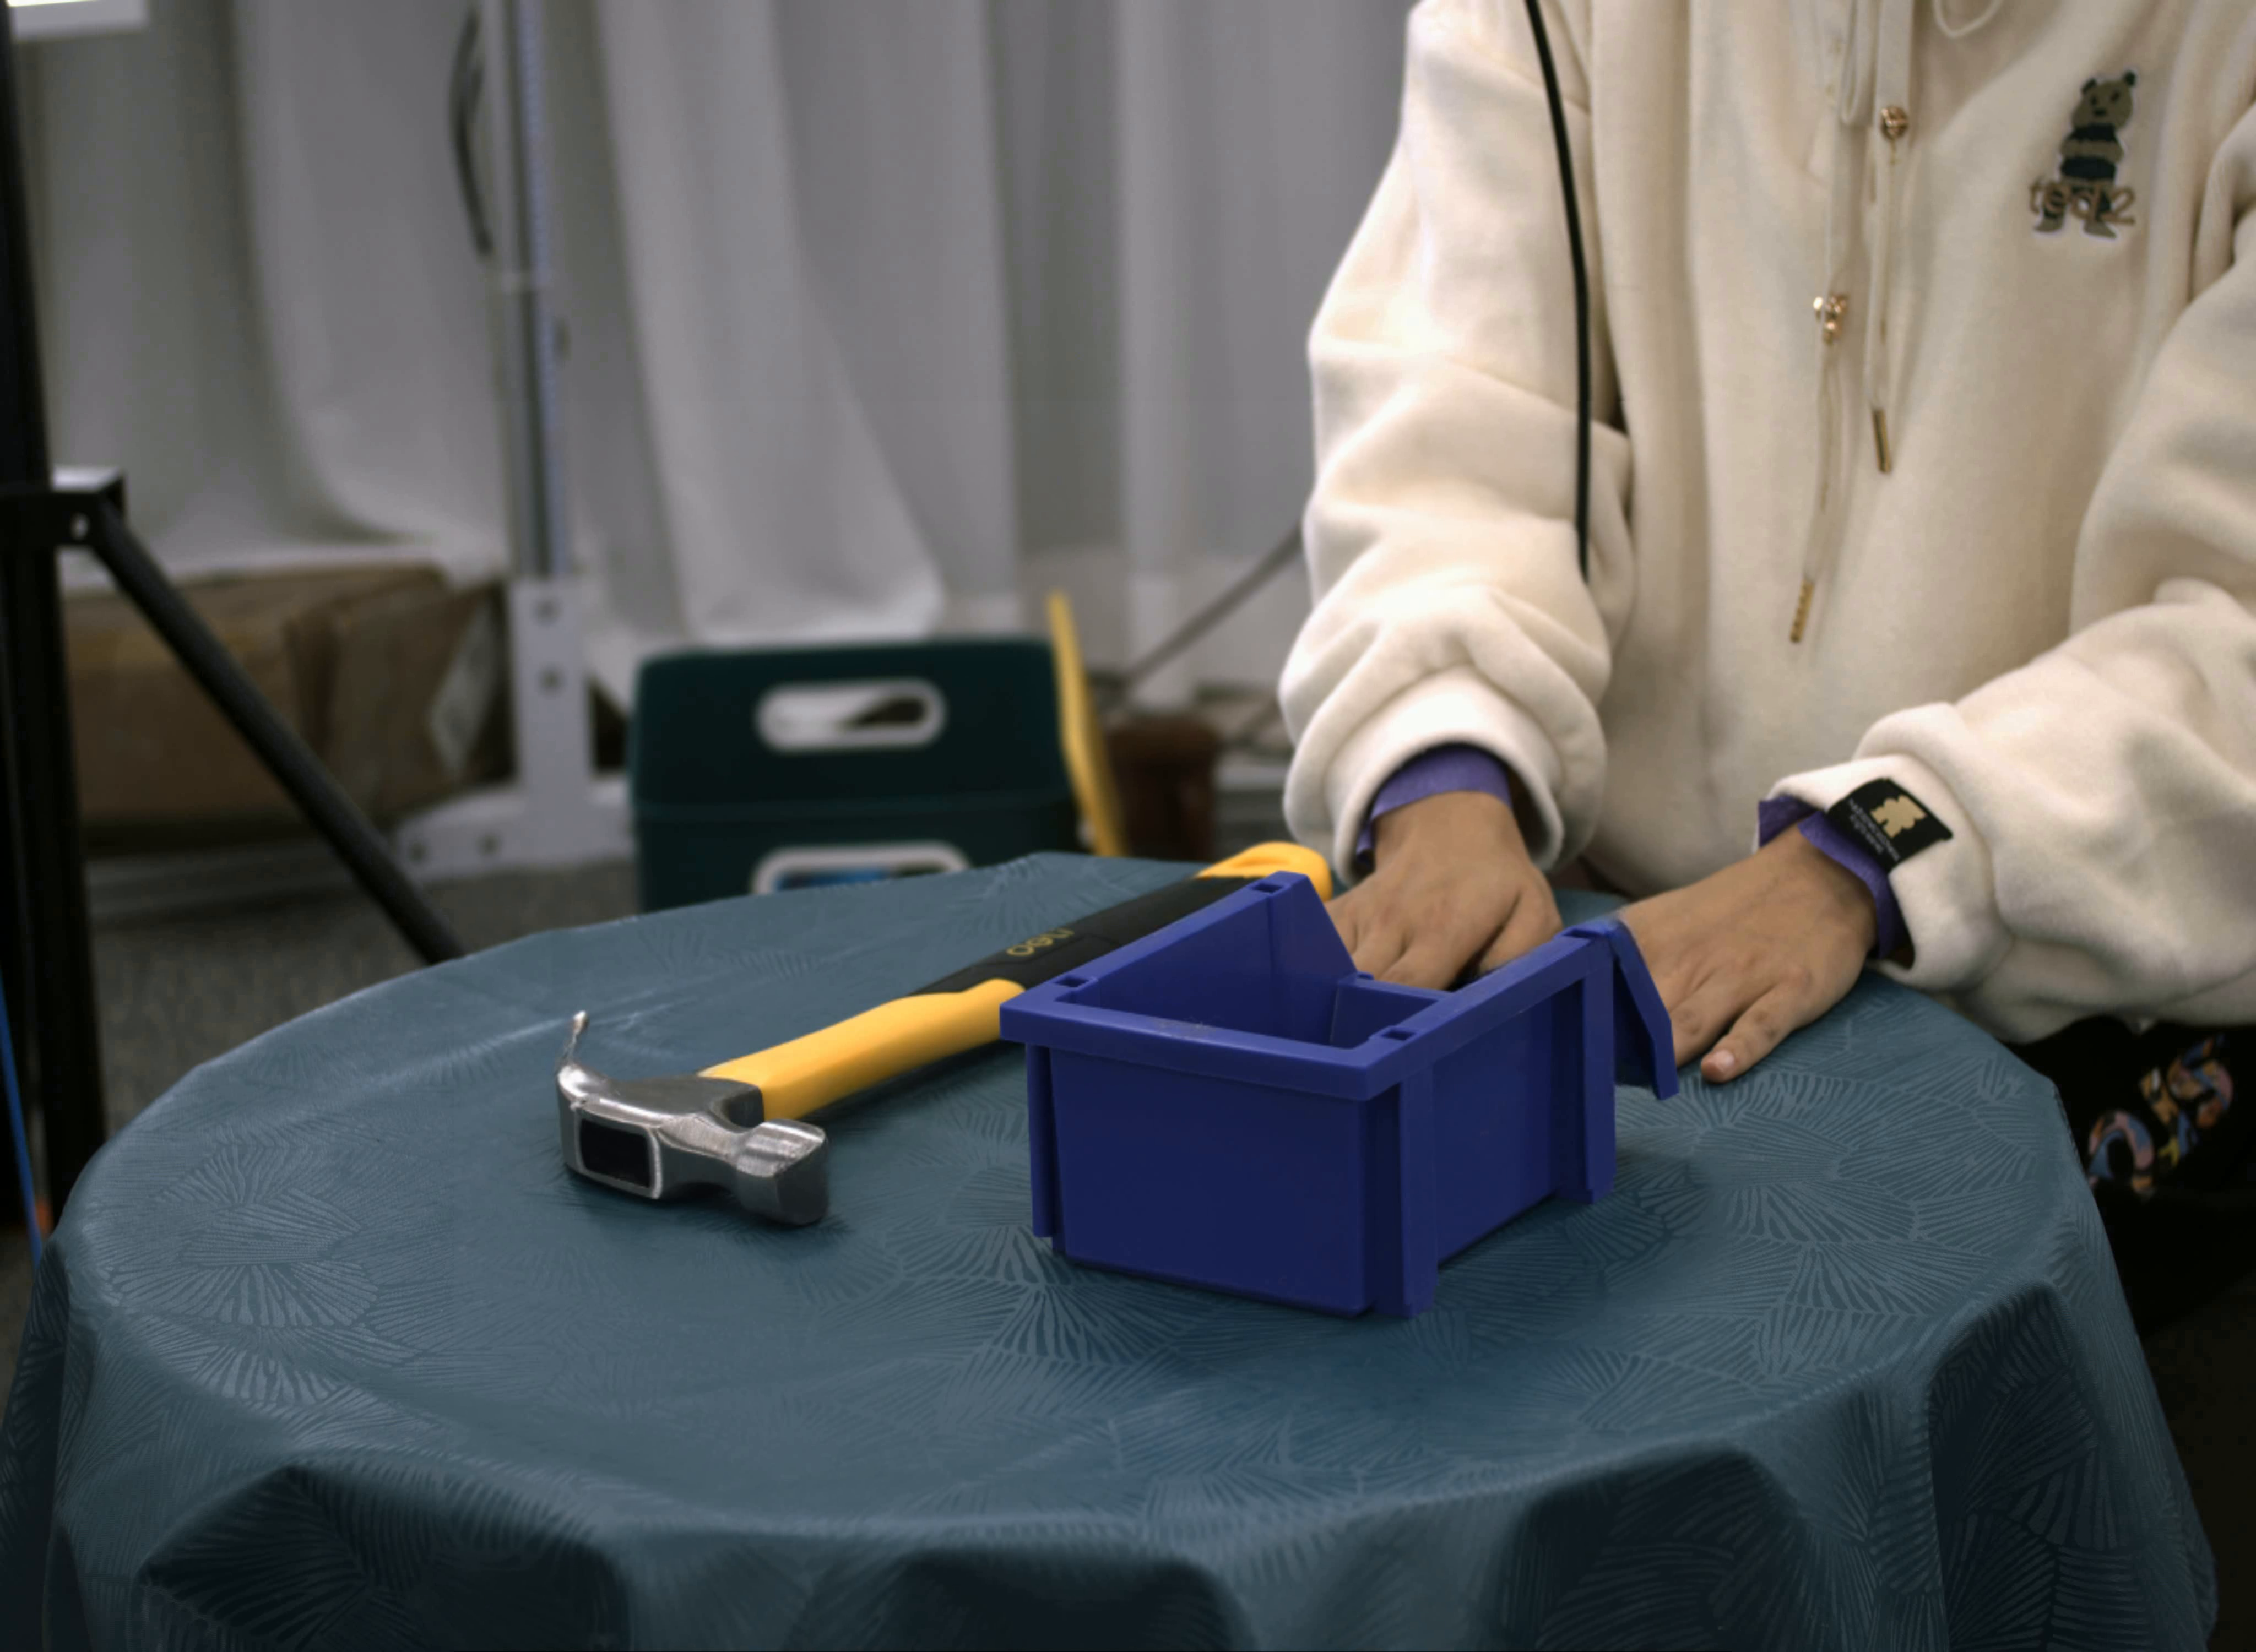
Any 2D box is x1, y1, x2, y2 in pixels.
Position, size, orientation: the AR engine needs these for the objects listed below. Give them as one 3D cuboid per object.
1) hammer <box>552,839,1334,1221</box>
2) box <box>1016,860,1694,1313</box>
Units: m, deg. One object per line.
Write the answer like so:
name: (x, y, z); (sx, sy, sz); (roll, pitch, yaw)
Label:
hammer: (-0.047, 0.055, 1.690); (0.134, 0.032, 0.331); (9, 20, 40)
box: (0.067, 0.071, 1.531); (0.127, 0.082, 0.176); (8, 21, 34)
